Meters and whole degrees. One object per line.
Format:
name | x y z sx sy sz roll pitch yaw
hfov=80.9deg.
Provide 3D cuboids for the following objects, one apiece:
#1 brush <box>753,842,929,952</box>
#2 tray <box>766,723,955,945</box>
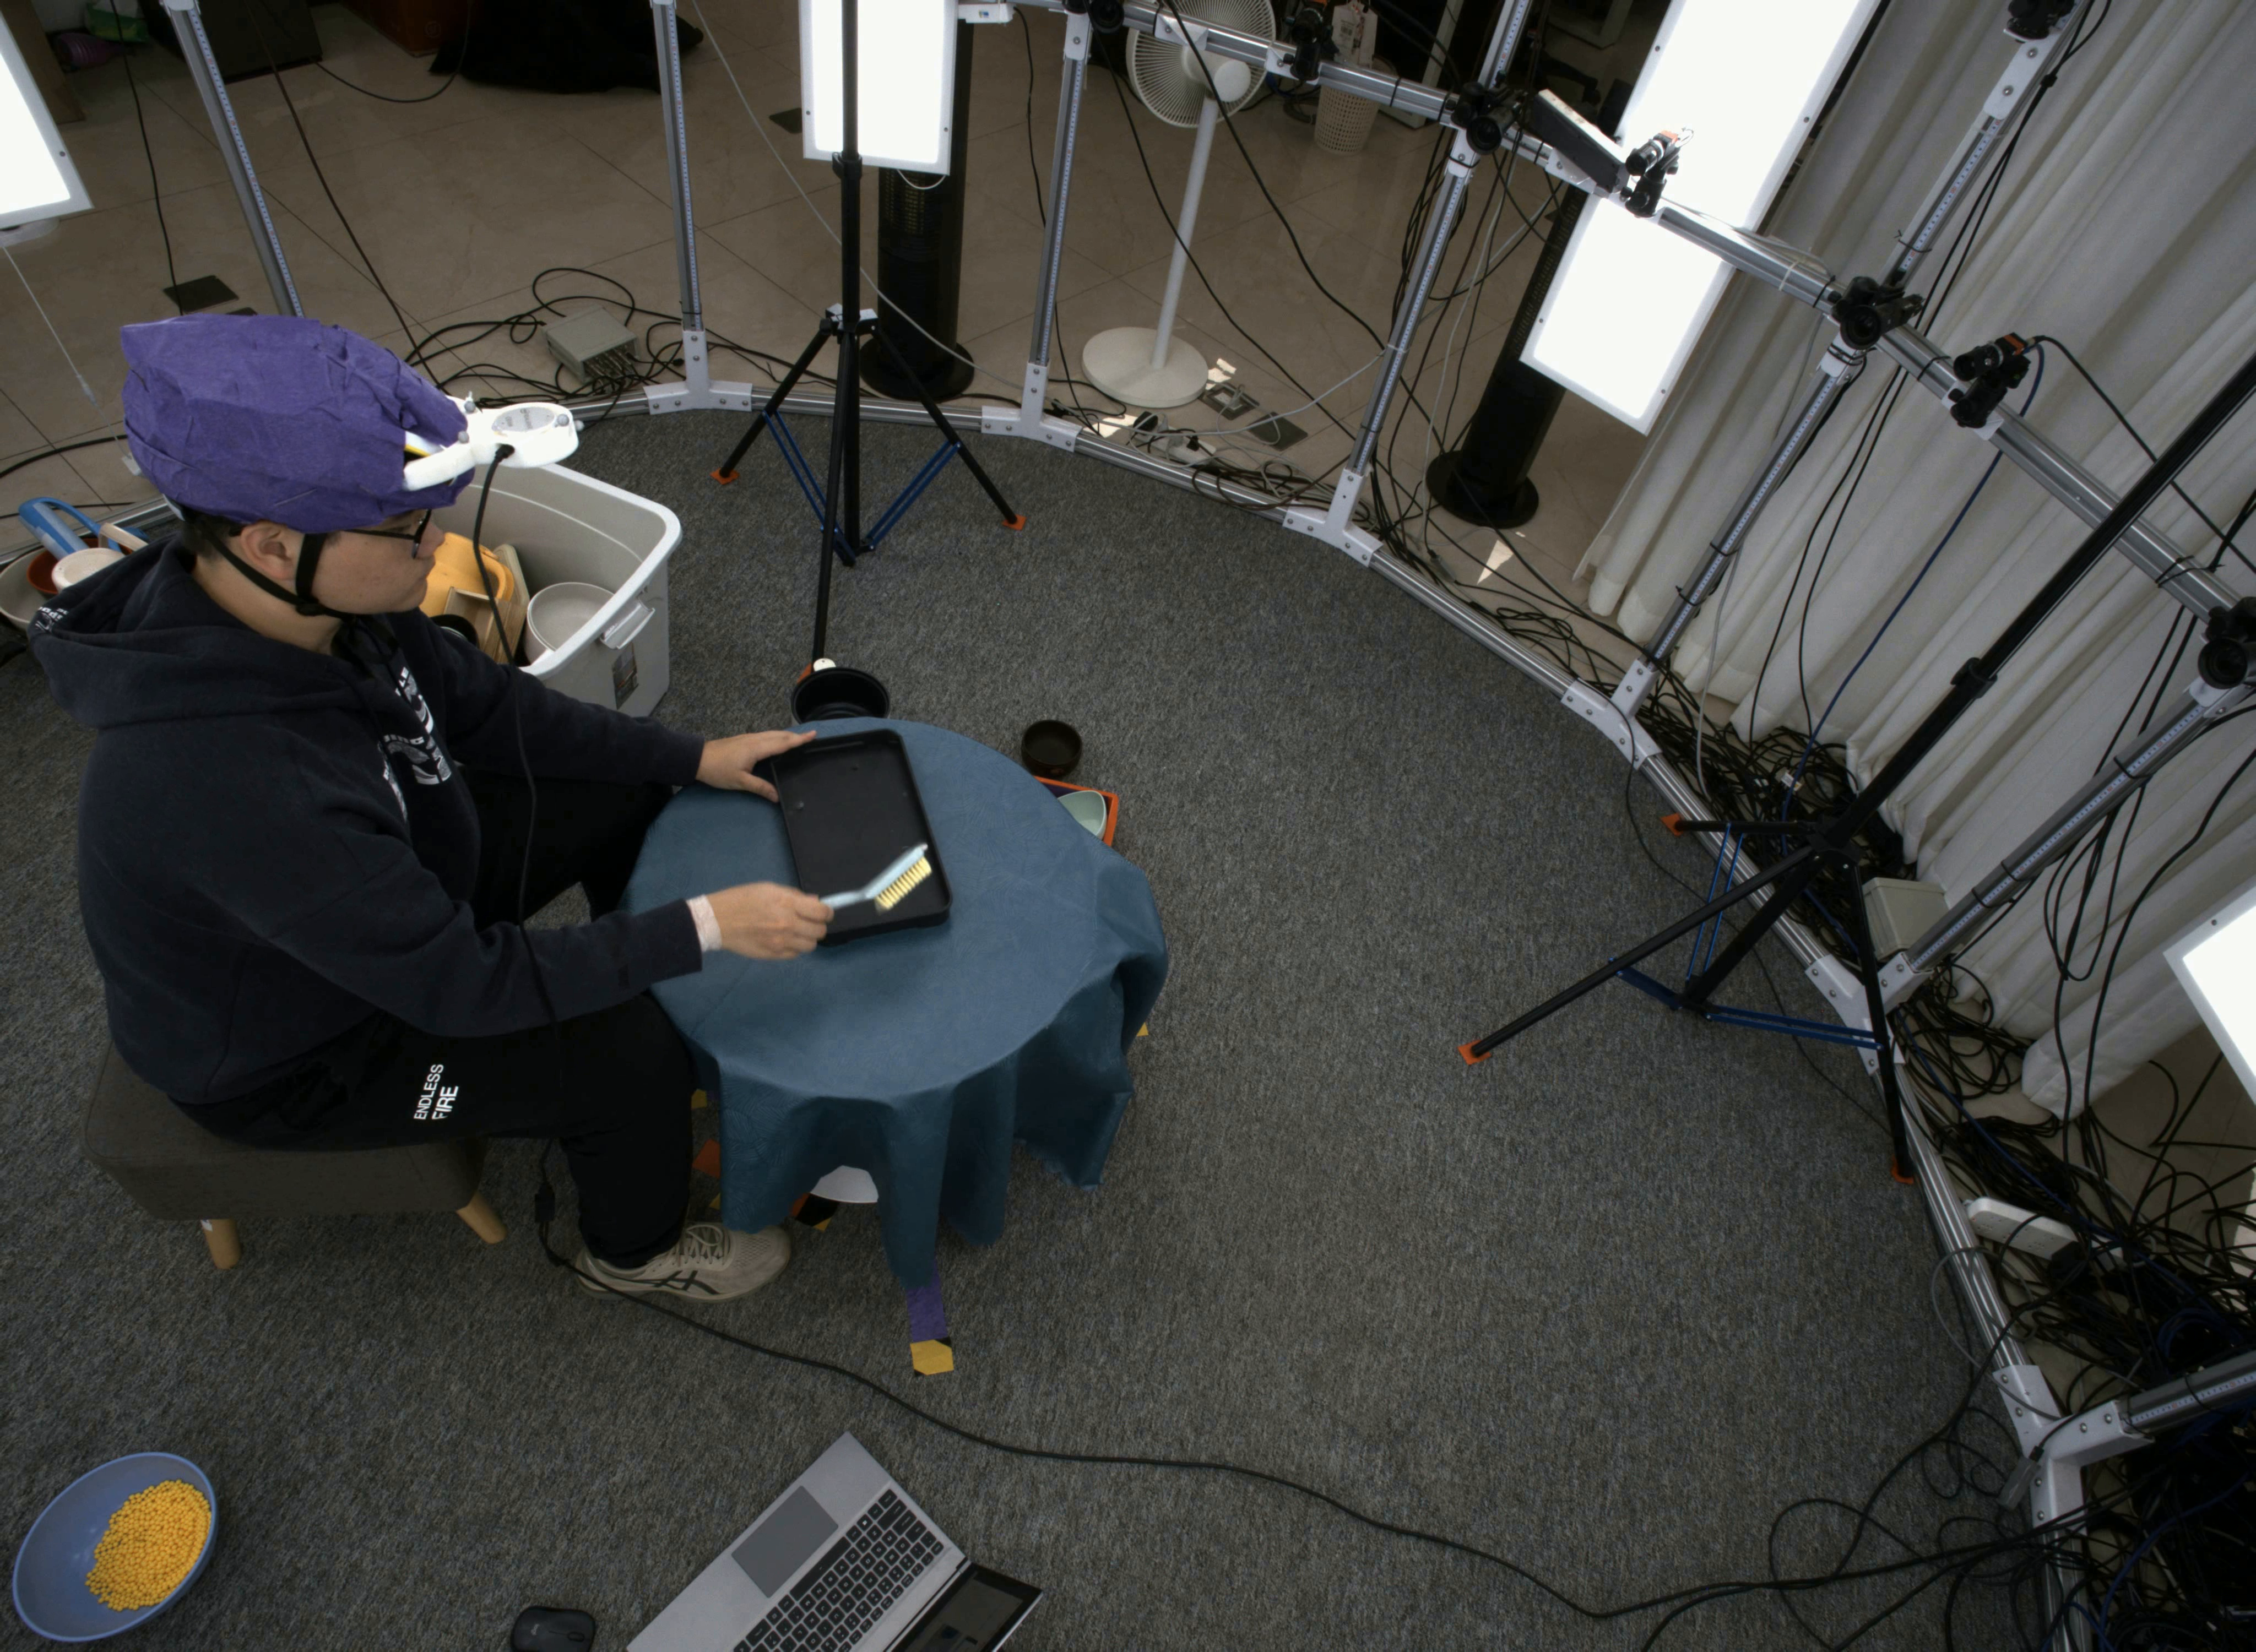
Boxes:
brush | -0.335 0.090 1.527 0.229 0.036 0.051 -30 109 -21
tray | -0.356 0.003 1.712 0.185 0.038 0.310 -12 58 -21
